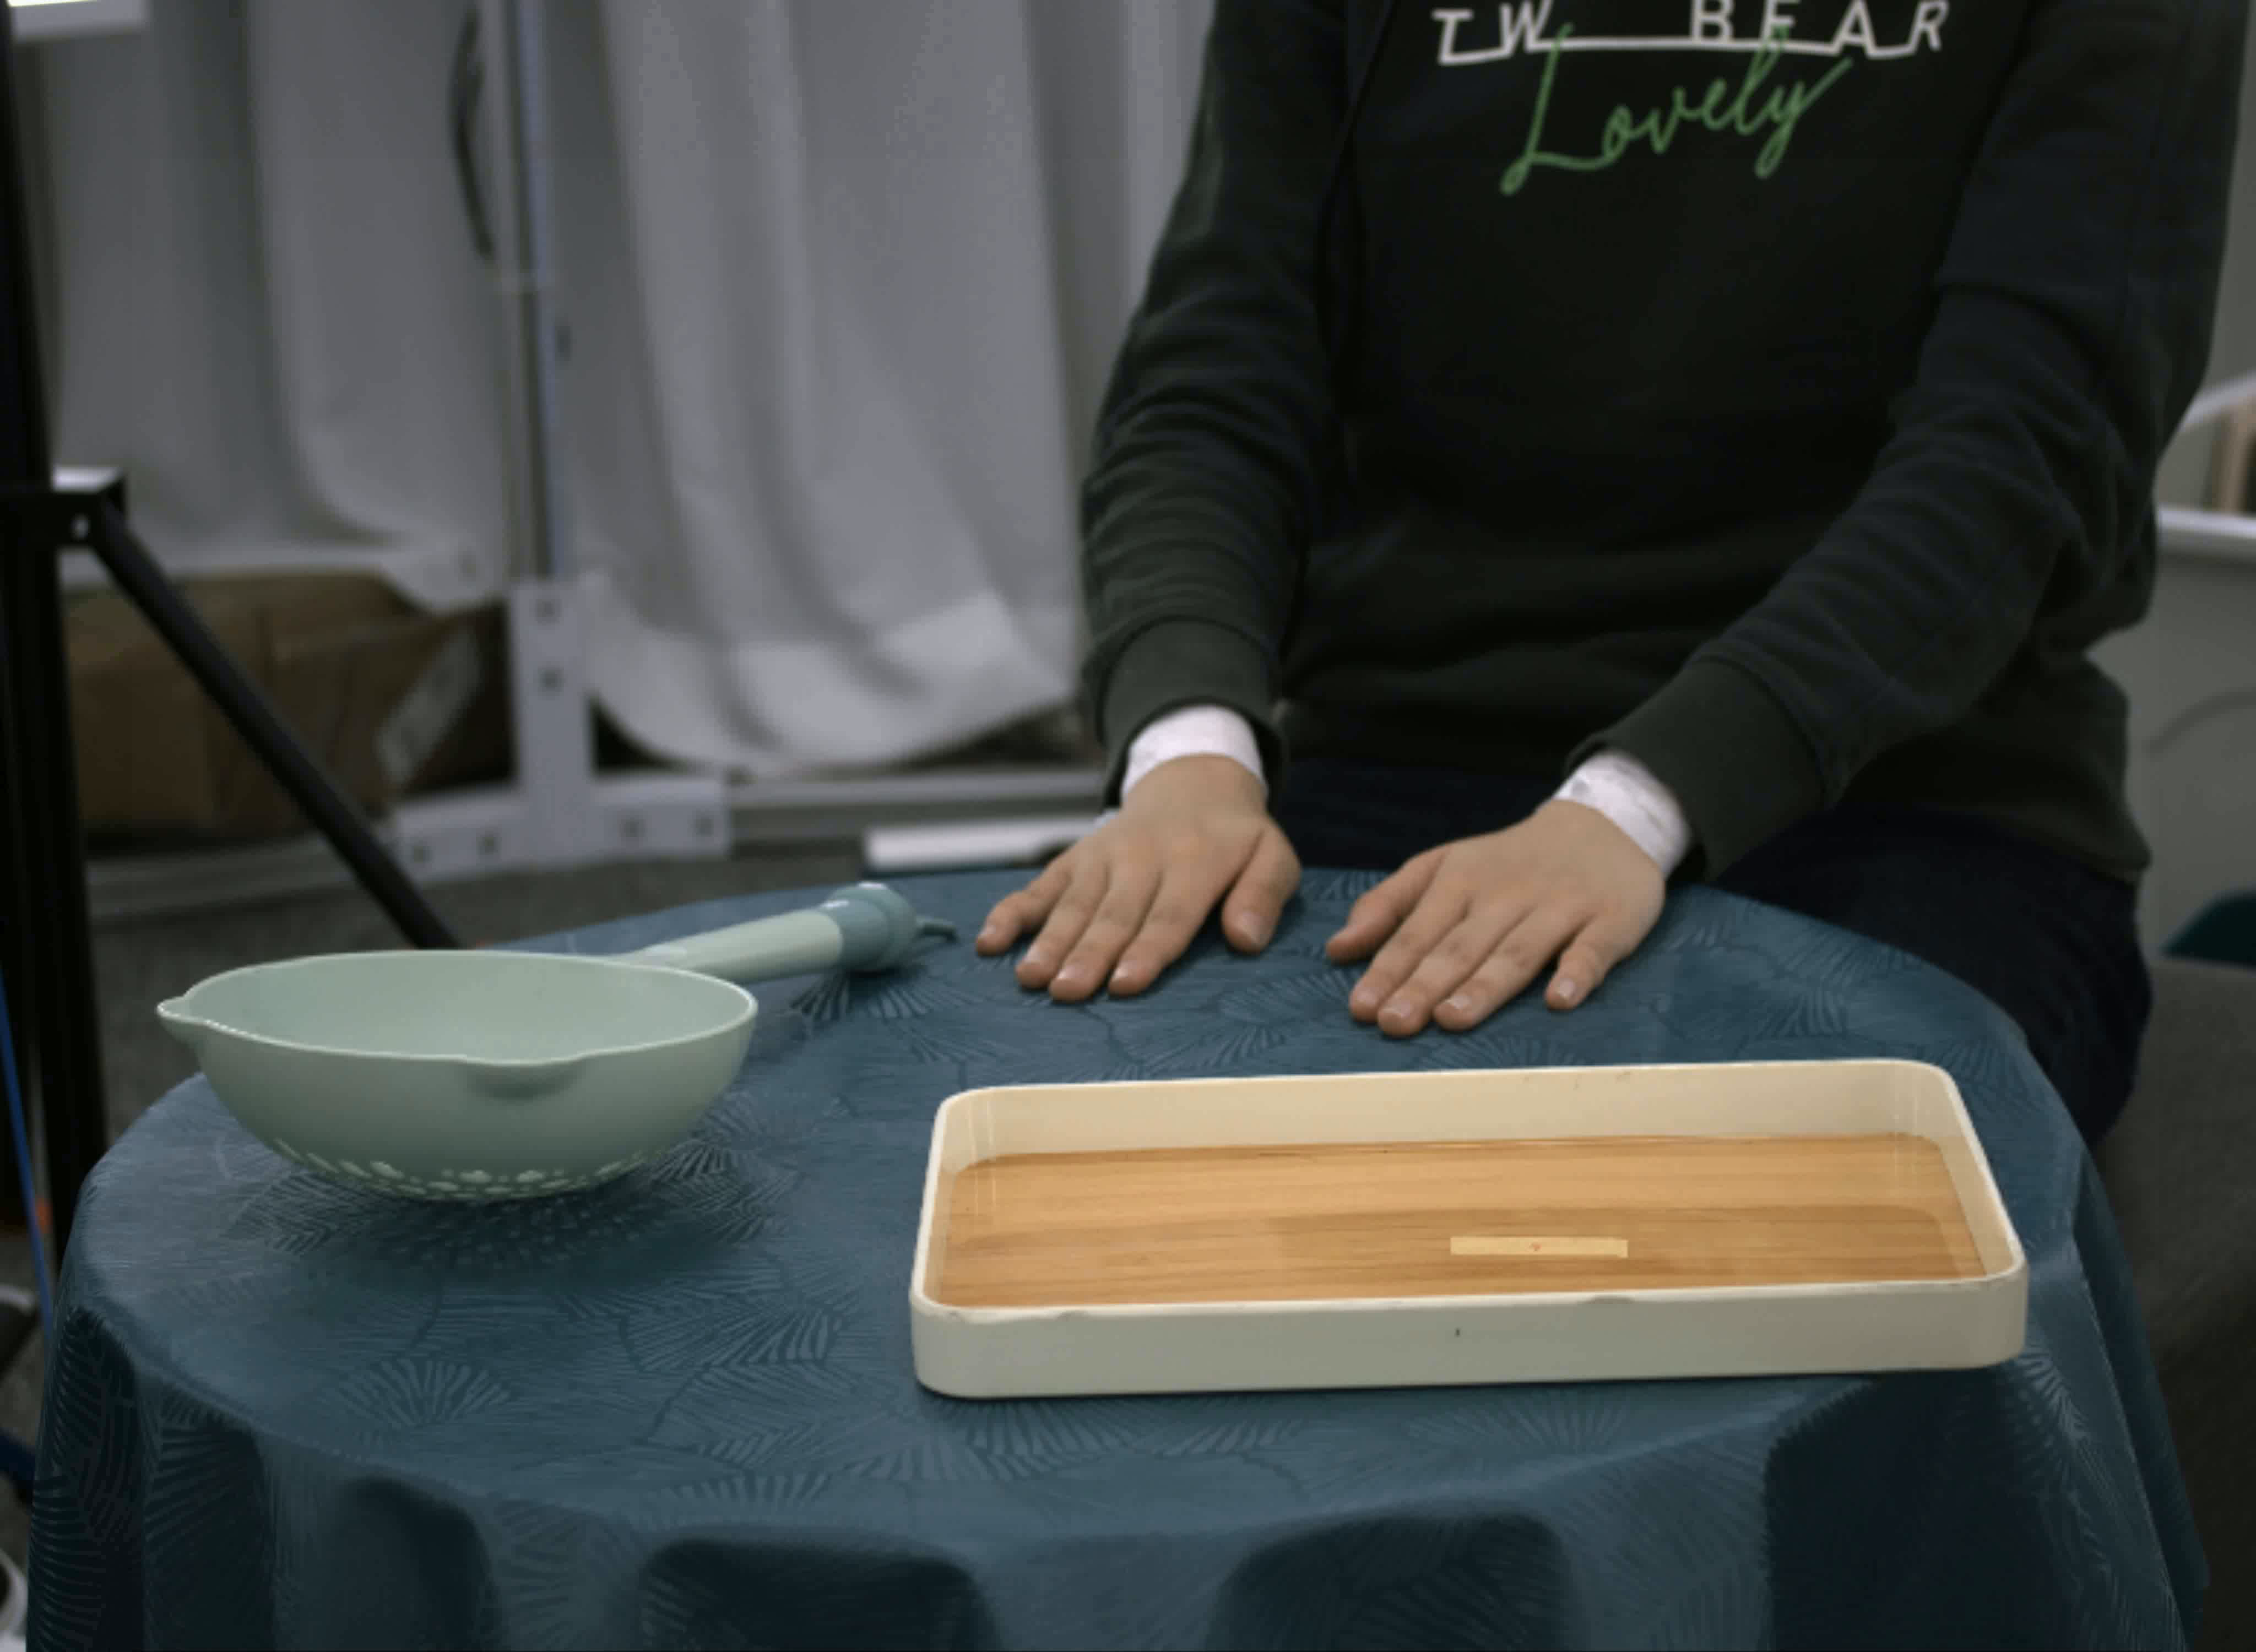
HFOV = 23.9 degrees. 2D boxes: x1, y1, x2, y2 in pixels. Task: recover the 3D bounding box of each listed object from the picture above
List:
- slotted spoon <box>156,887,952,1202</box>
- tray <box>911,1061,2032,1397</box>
[{"bbox_3d":[-0.149,0.052,1.662,0.172,0.075,0.353,6,18,28],"label":"slotted spoon"},{"bbox_3d":[0.093,0.111,1.482,0.299,0.027,0.192,-1,16,3],"label":"tray"}]
